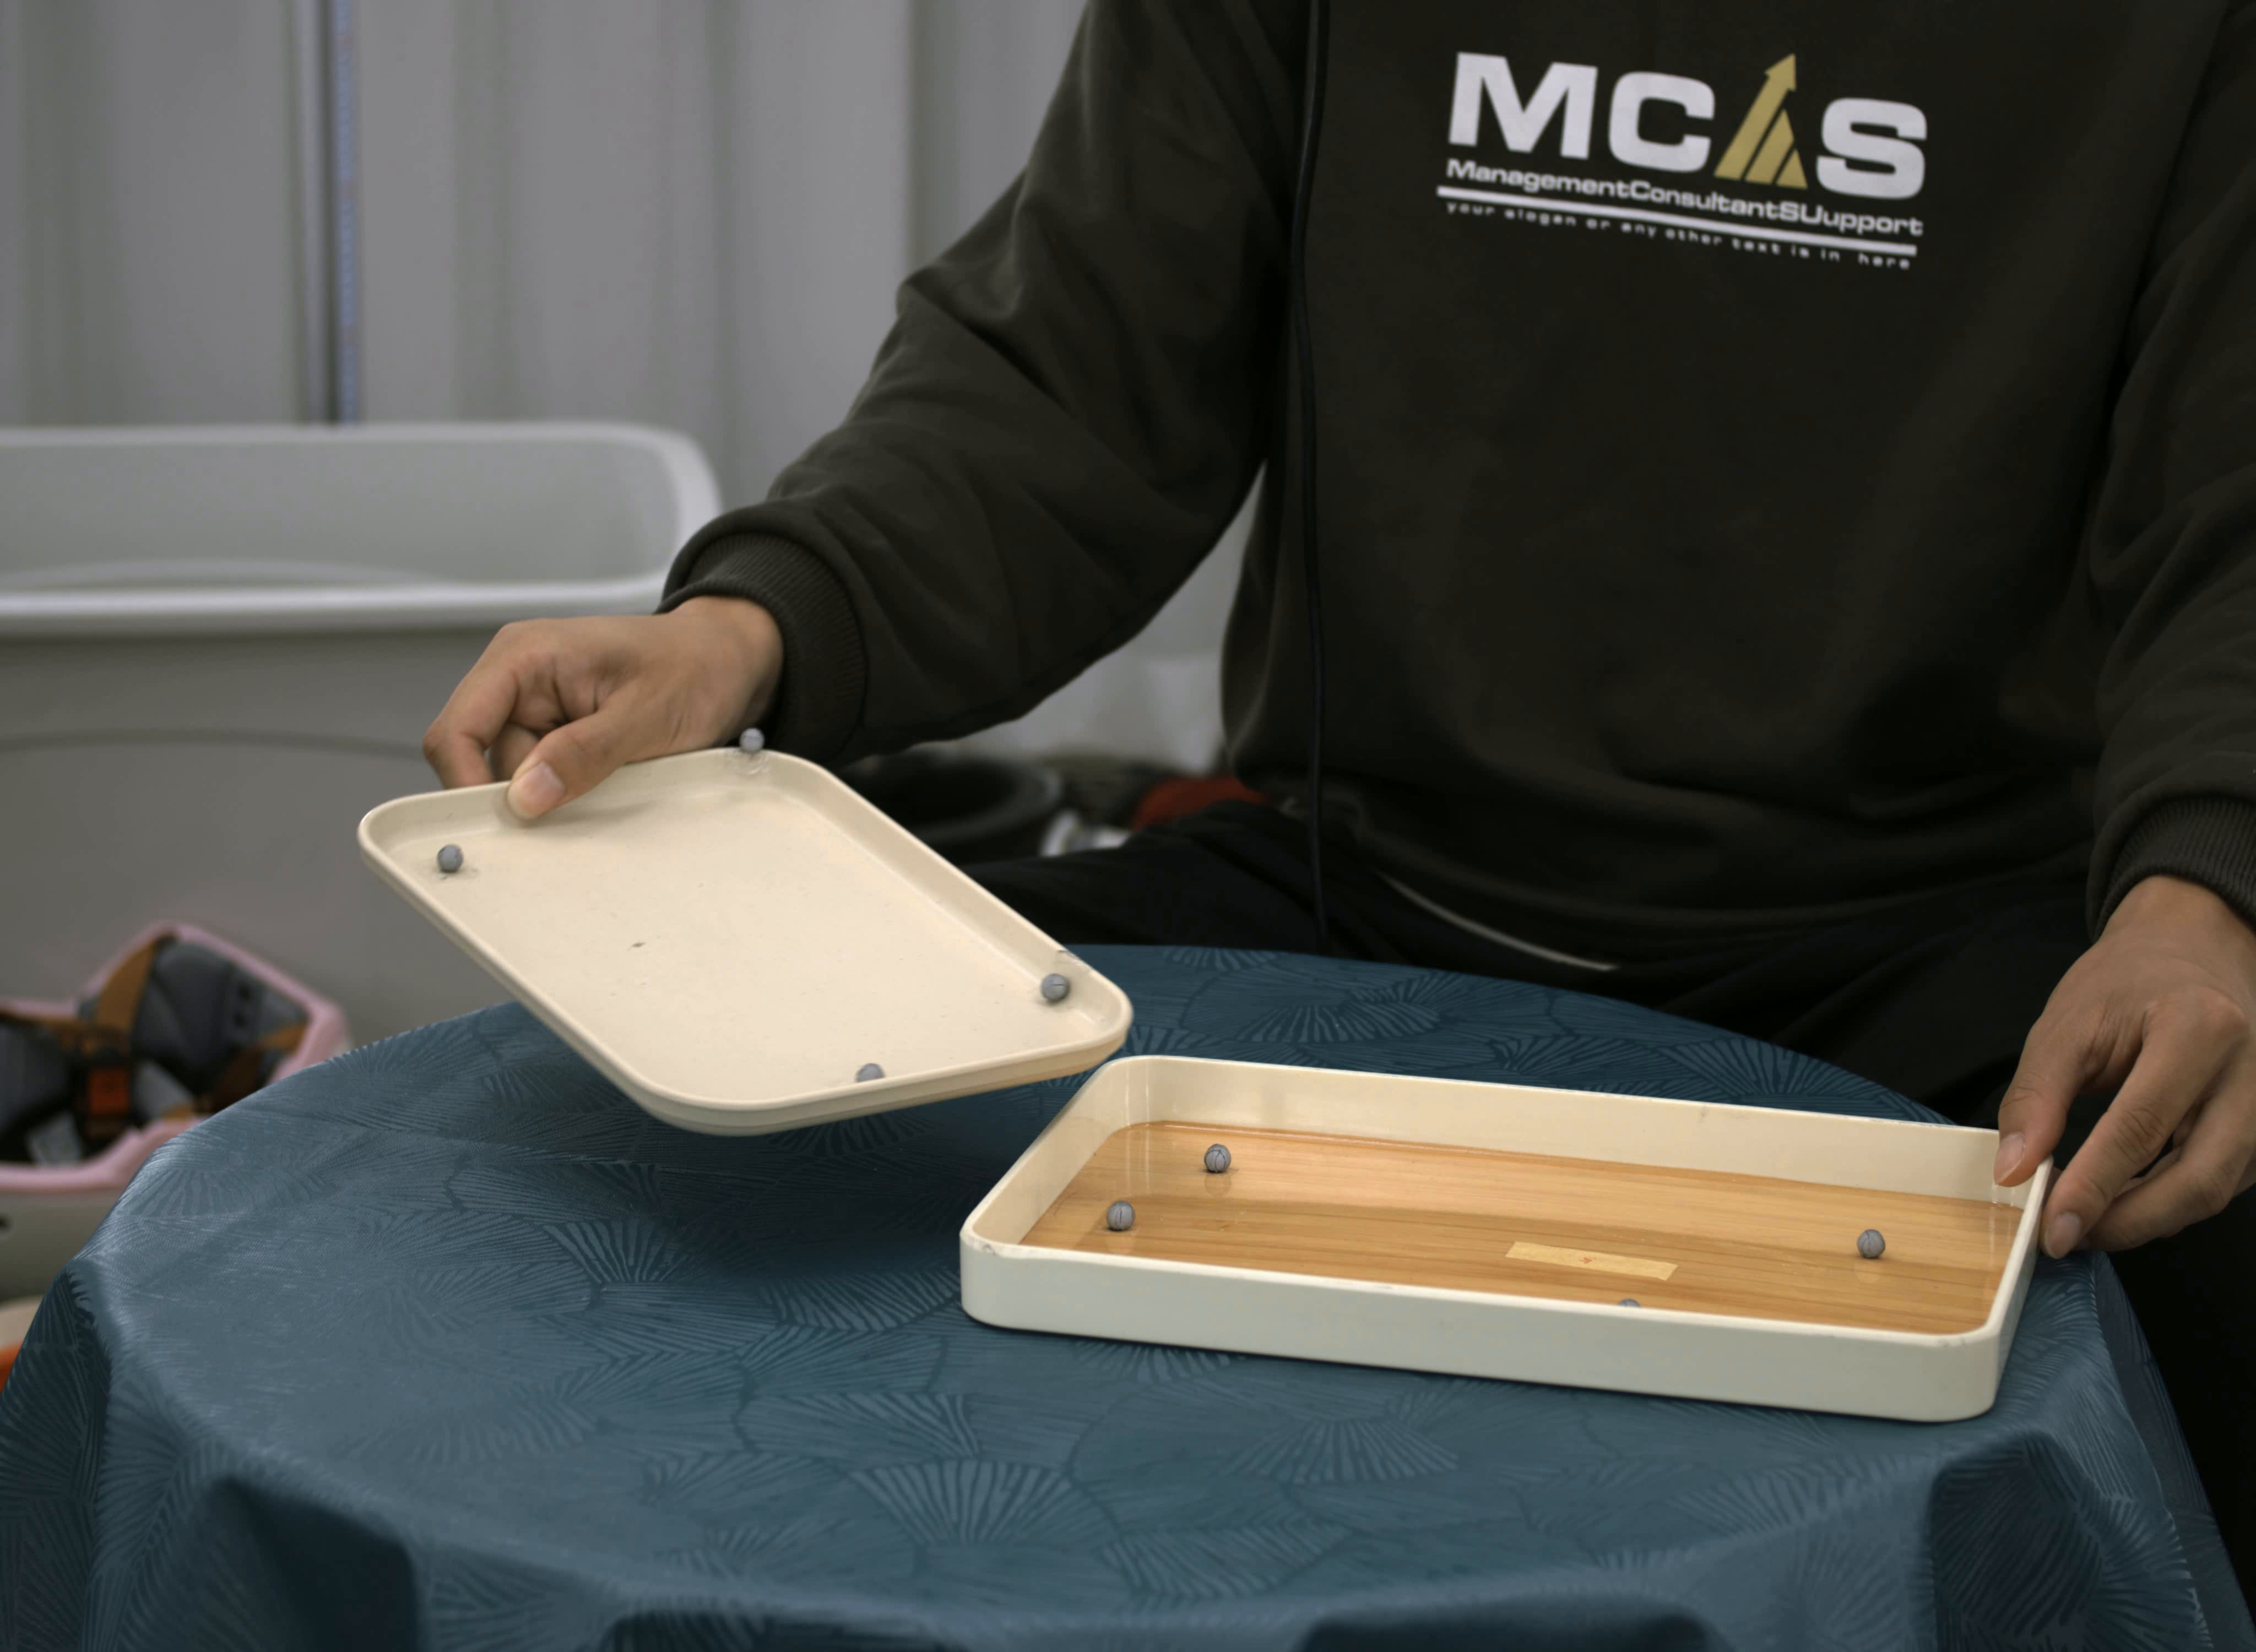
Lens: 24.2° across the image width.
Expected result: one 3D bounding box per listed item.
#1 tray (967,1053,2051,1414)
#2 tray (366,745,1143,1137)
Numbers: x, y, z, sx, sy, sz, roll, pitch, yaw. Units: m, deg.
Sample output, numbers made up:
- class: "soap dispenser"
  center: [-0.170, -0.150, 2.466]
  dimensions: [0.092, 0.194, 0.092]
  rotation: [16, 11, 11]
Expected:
- class: "tray"
  center: [0.117, 0.118, 1.566]
  dimensions: [0.298, 0.027, 0.191]
  rotation: [5, 16, 13]
- class: "tray"
  center: [-0.119, 0.034, 1.644]
  dimensions: [0.172, 0.017, 0.236]
  rotation: [-10, 29, -33]
